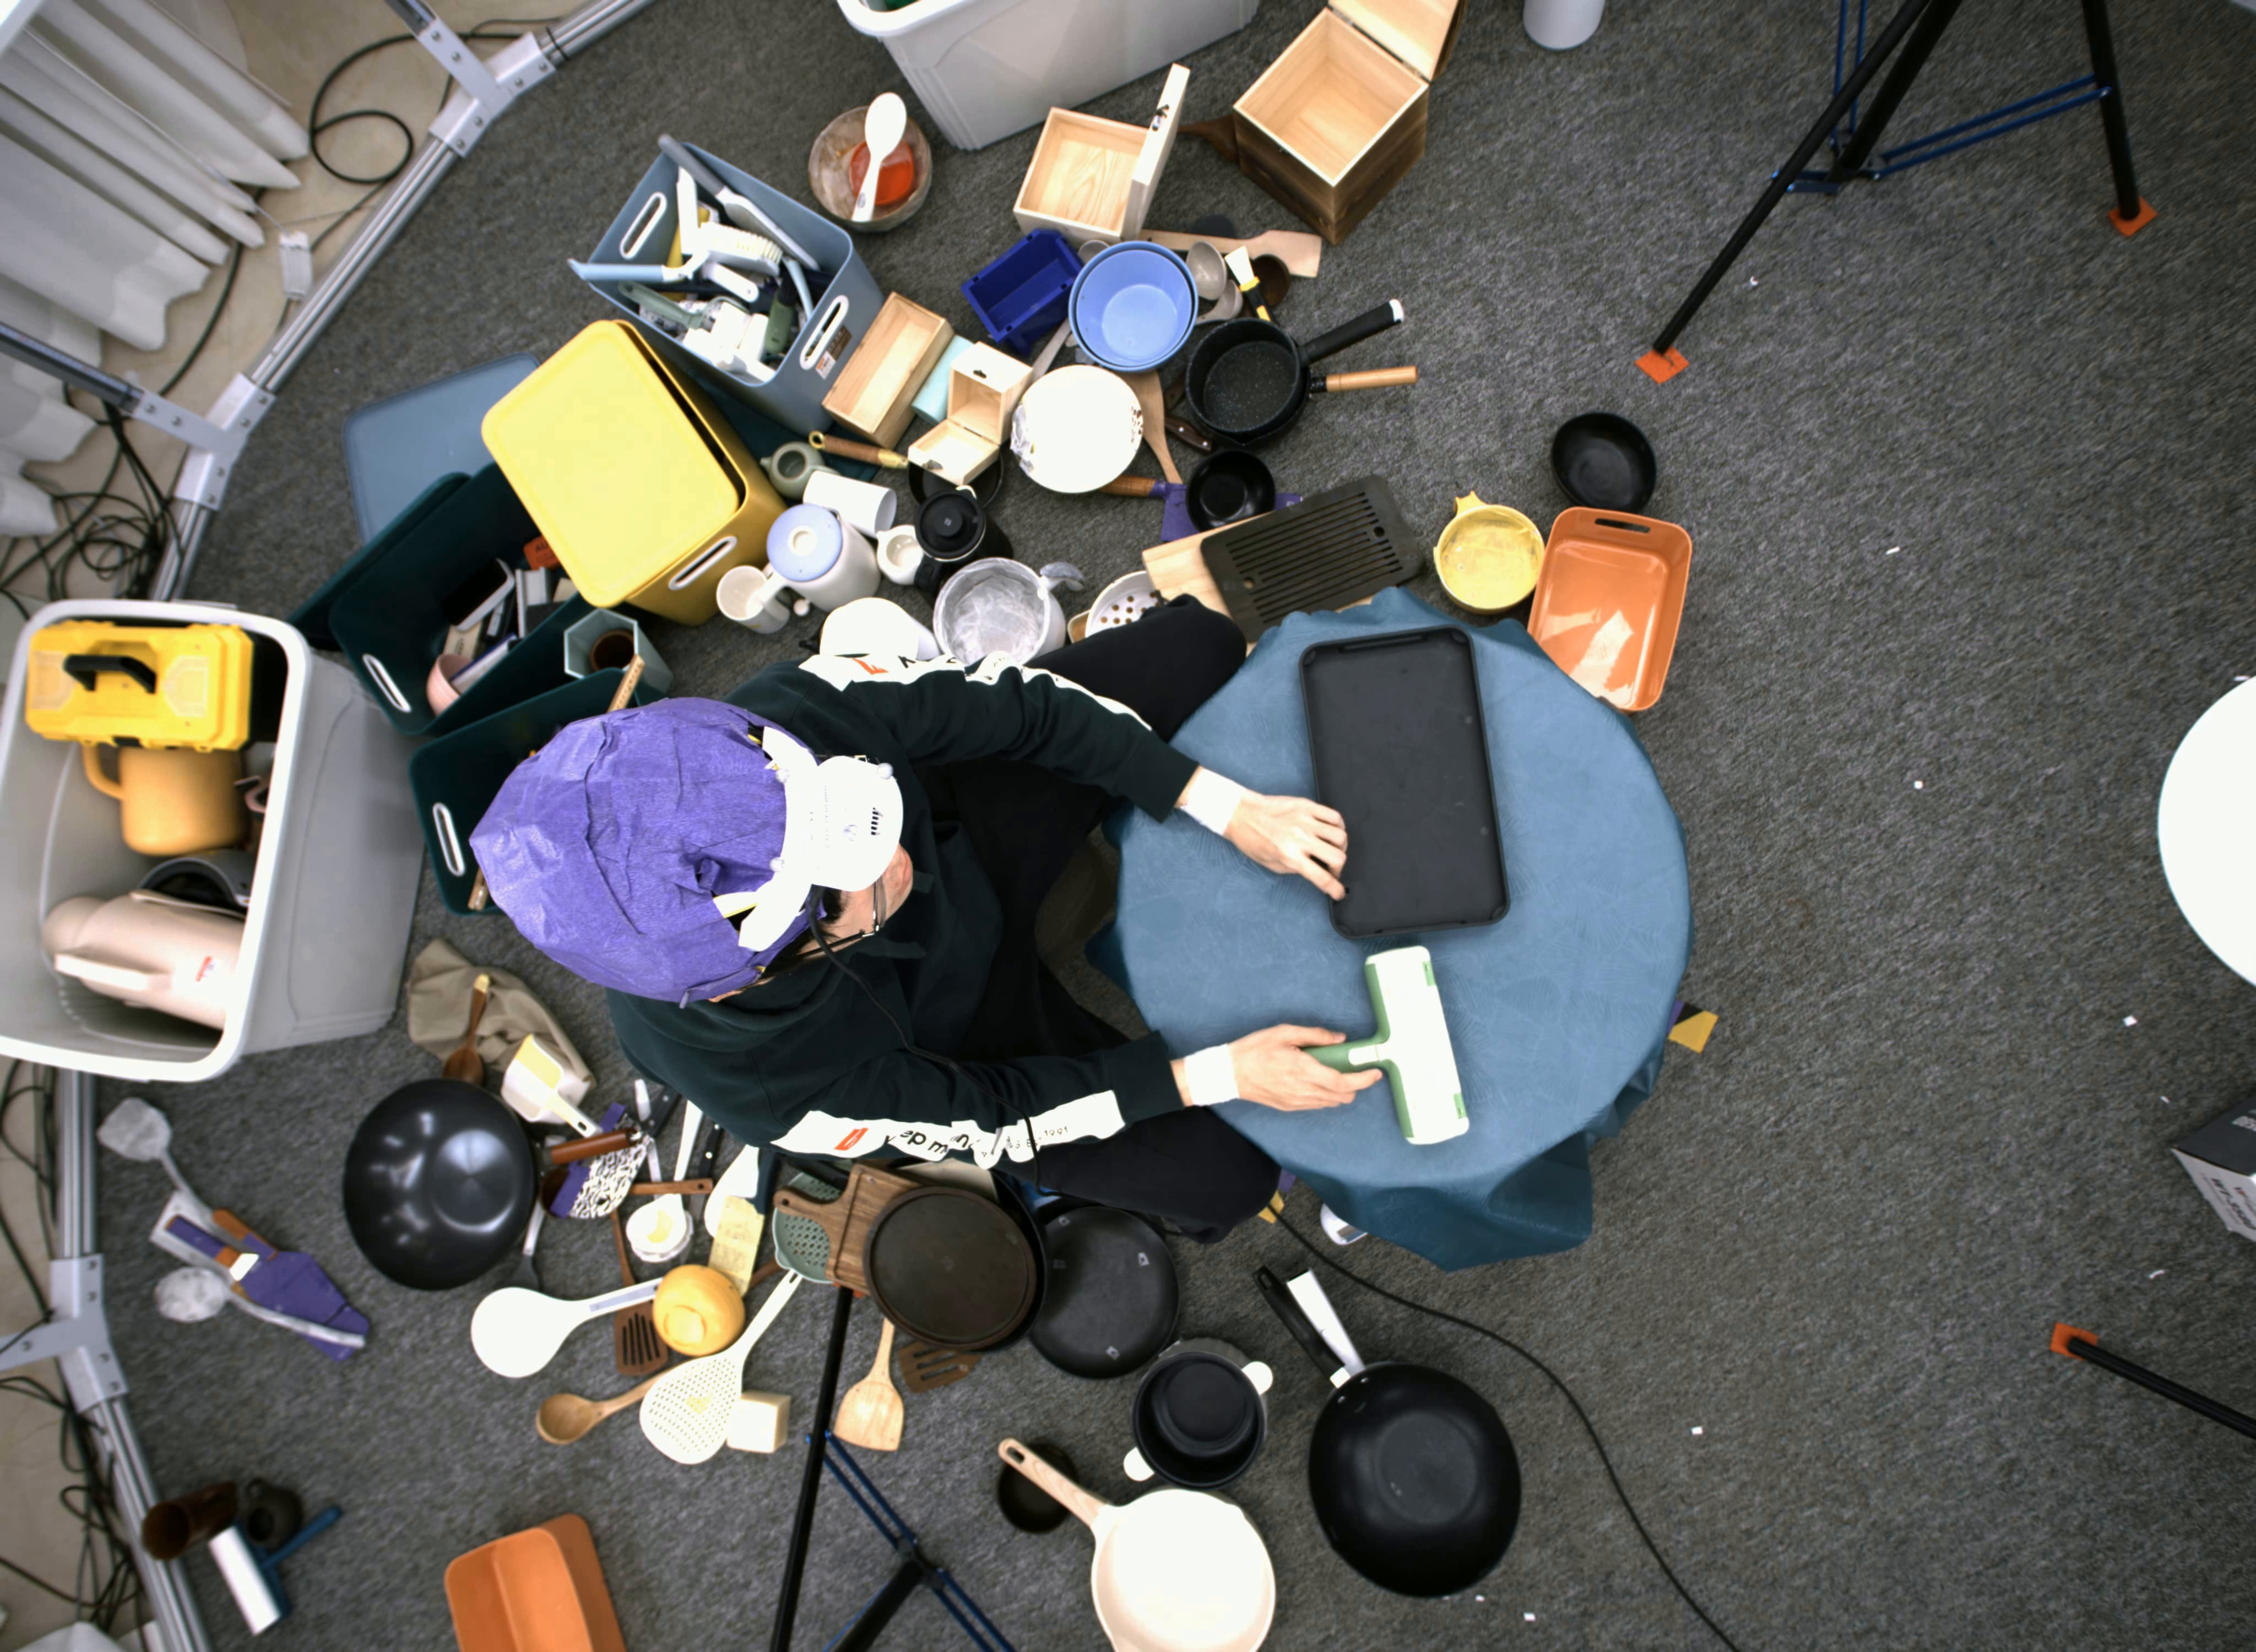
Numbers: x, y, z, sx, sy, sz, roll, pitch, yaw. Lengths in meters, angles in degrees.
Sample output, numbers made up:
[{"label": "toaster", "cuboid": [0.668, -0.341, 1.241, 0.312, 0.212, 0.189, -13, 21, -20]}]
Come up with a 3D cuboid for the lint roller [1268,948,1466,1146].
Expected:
[{"label": "lint roller", "cuboid": [0.235, 0.233, 1.405, 0.183, 0.082, 0.198, -11, 86, 1]}]

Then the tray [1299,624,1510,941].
[{"label": "tray", "cuboid": [0.287, -0.046, 1.438, 0.185, 0.037, 0.316, -7, 85, 9]}]
